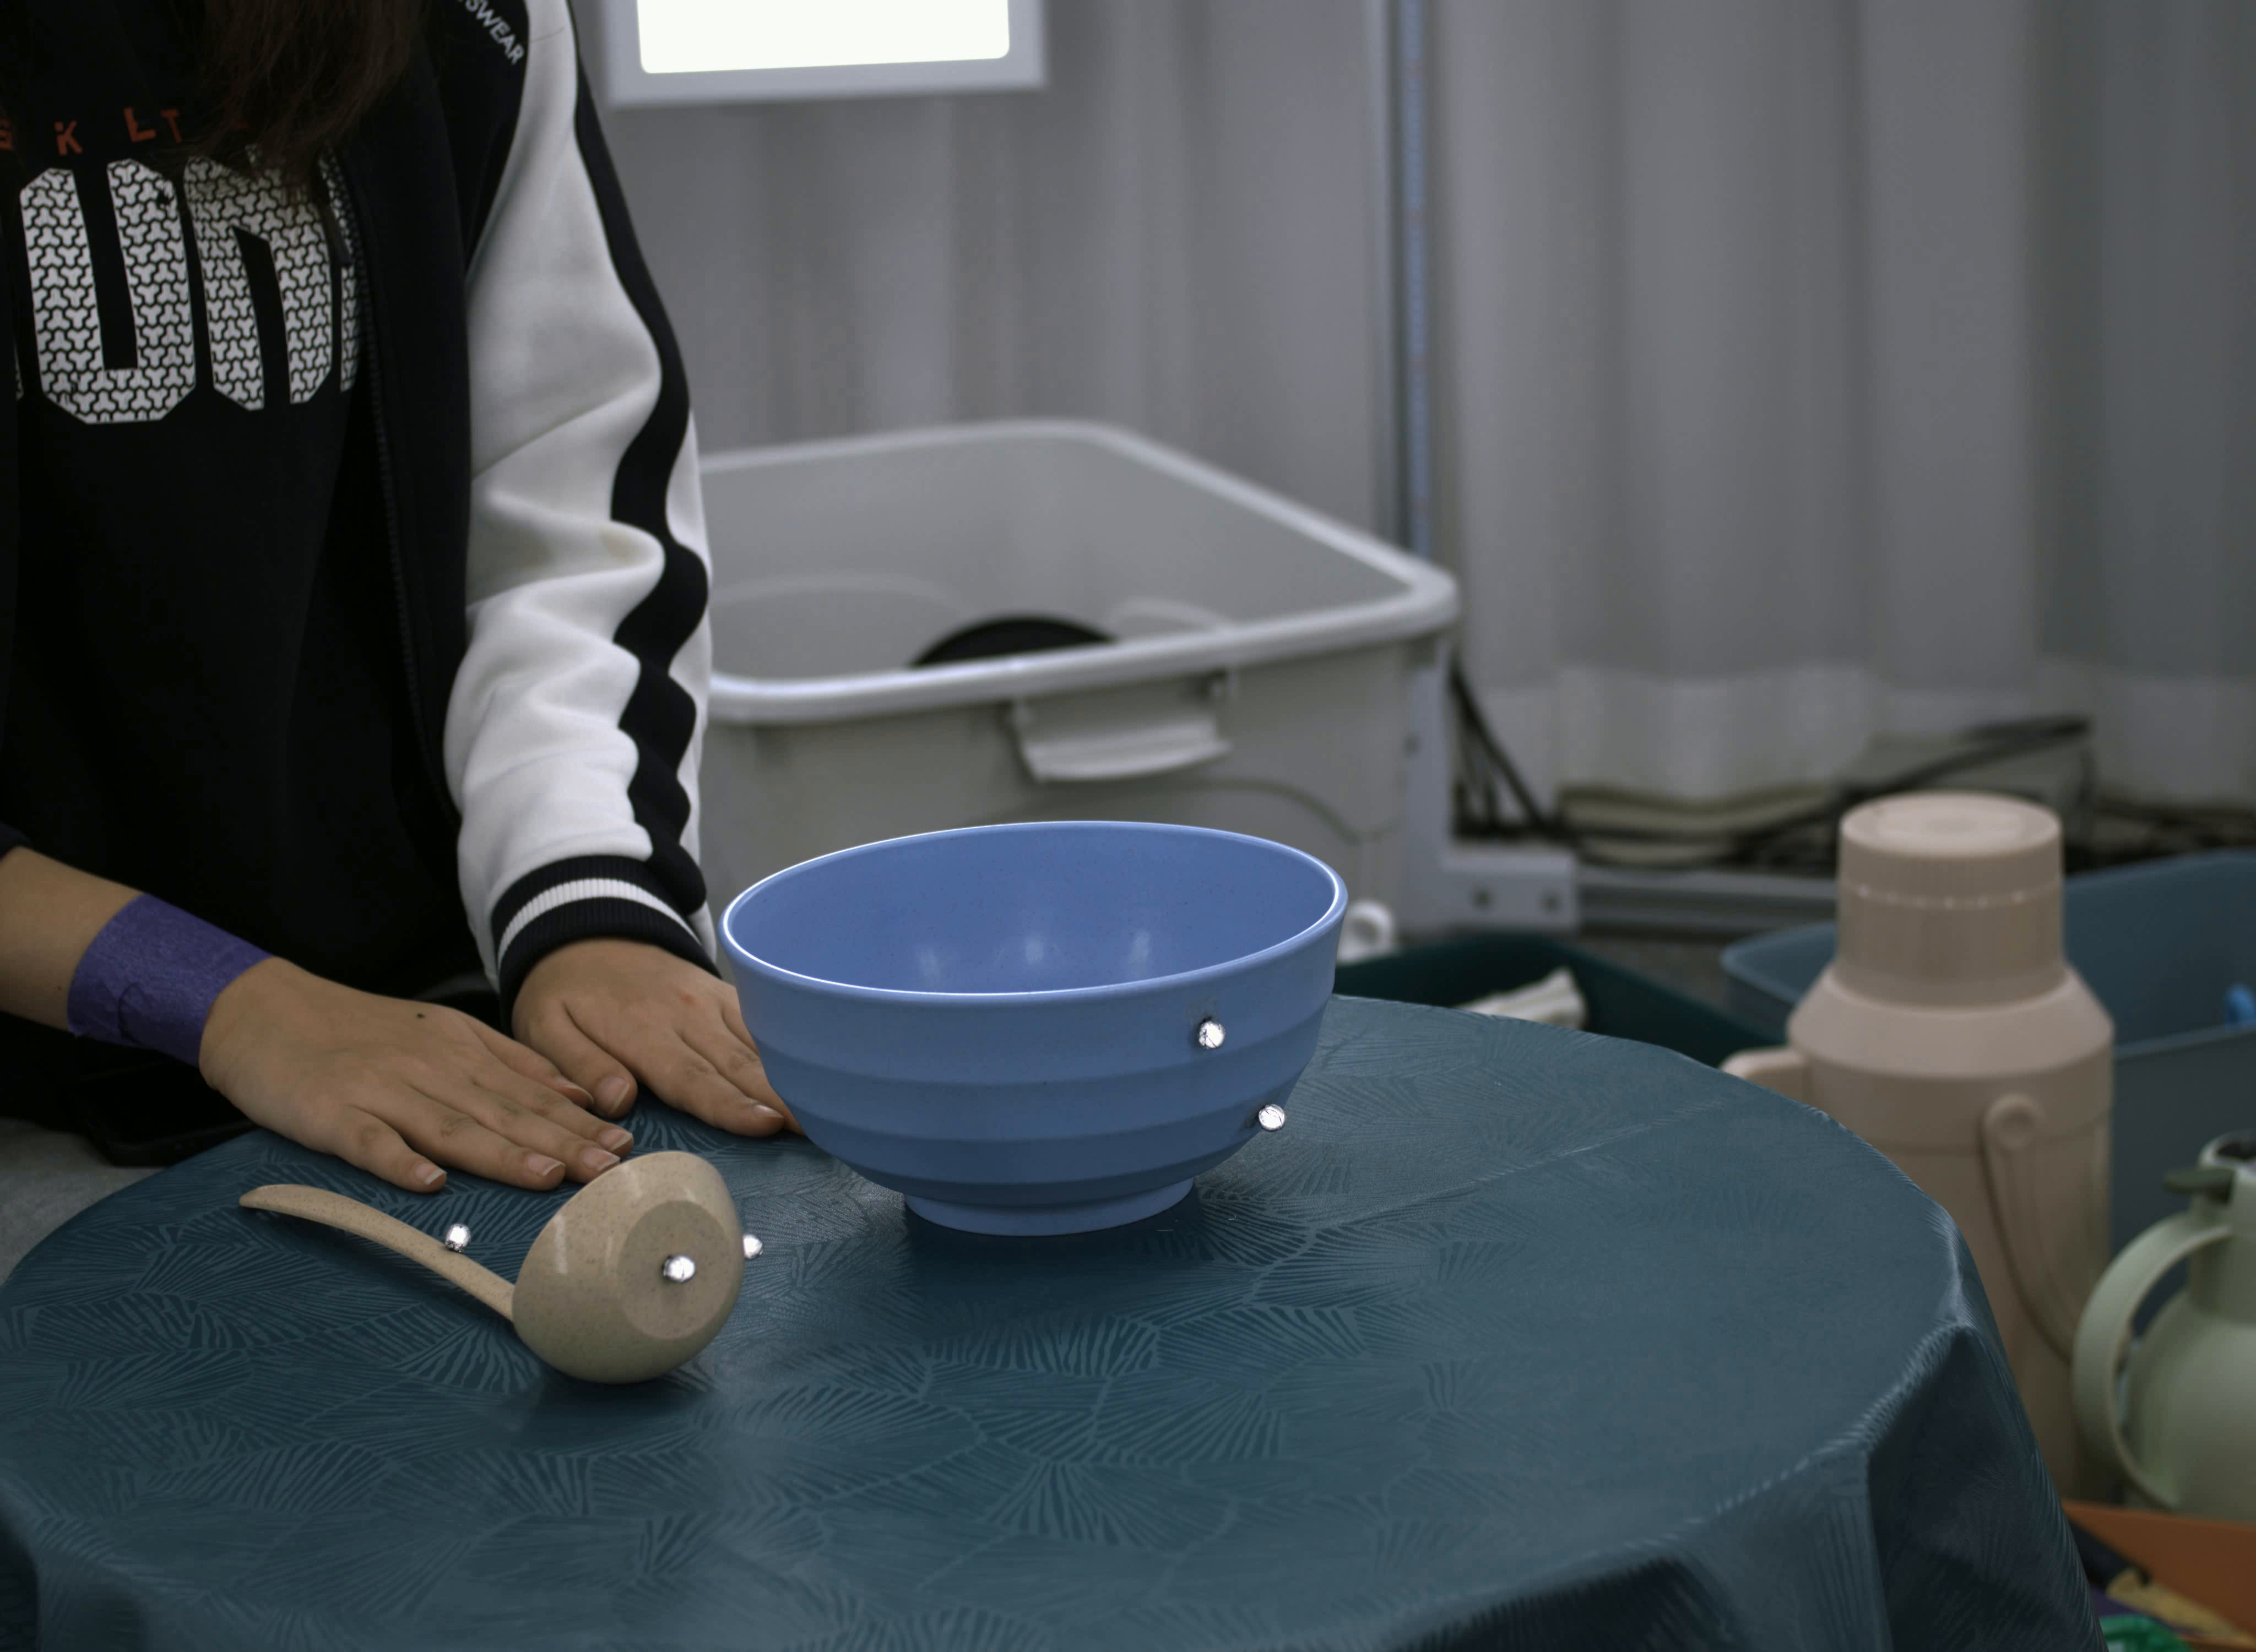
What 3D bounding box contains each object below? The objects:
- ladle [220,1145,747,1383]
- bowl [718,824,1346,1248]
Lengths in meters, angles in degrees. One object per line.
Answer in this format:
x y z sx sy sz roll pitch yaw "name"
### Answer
-0.205 0.108 1.640 0.072 0.072 0.256 -12 17 -37 "ladle"
-0.027 0.072 1.710 0.196 0.095 0.198 -4 15 1 "bowl"
